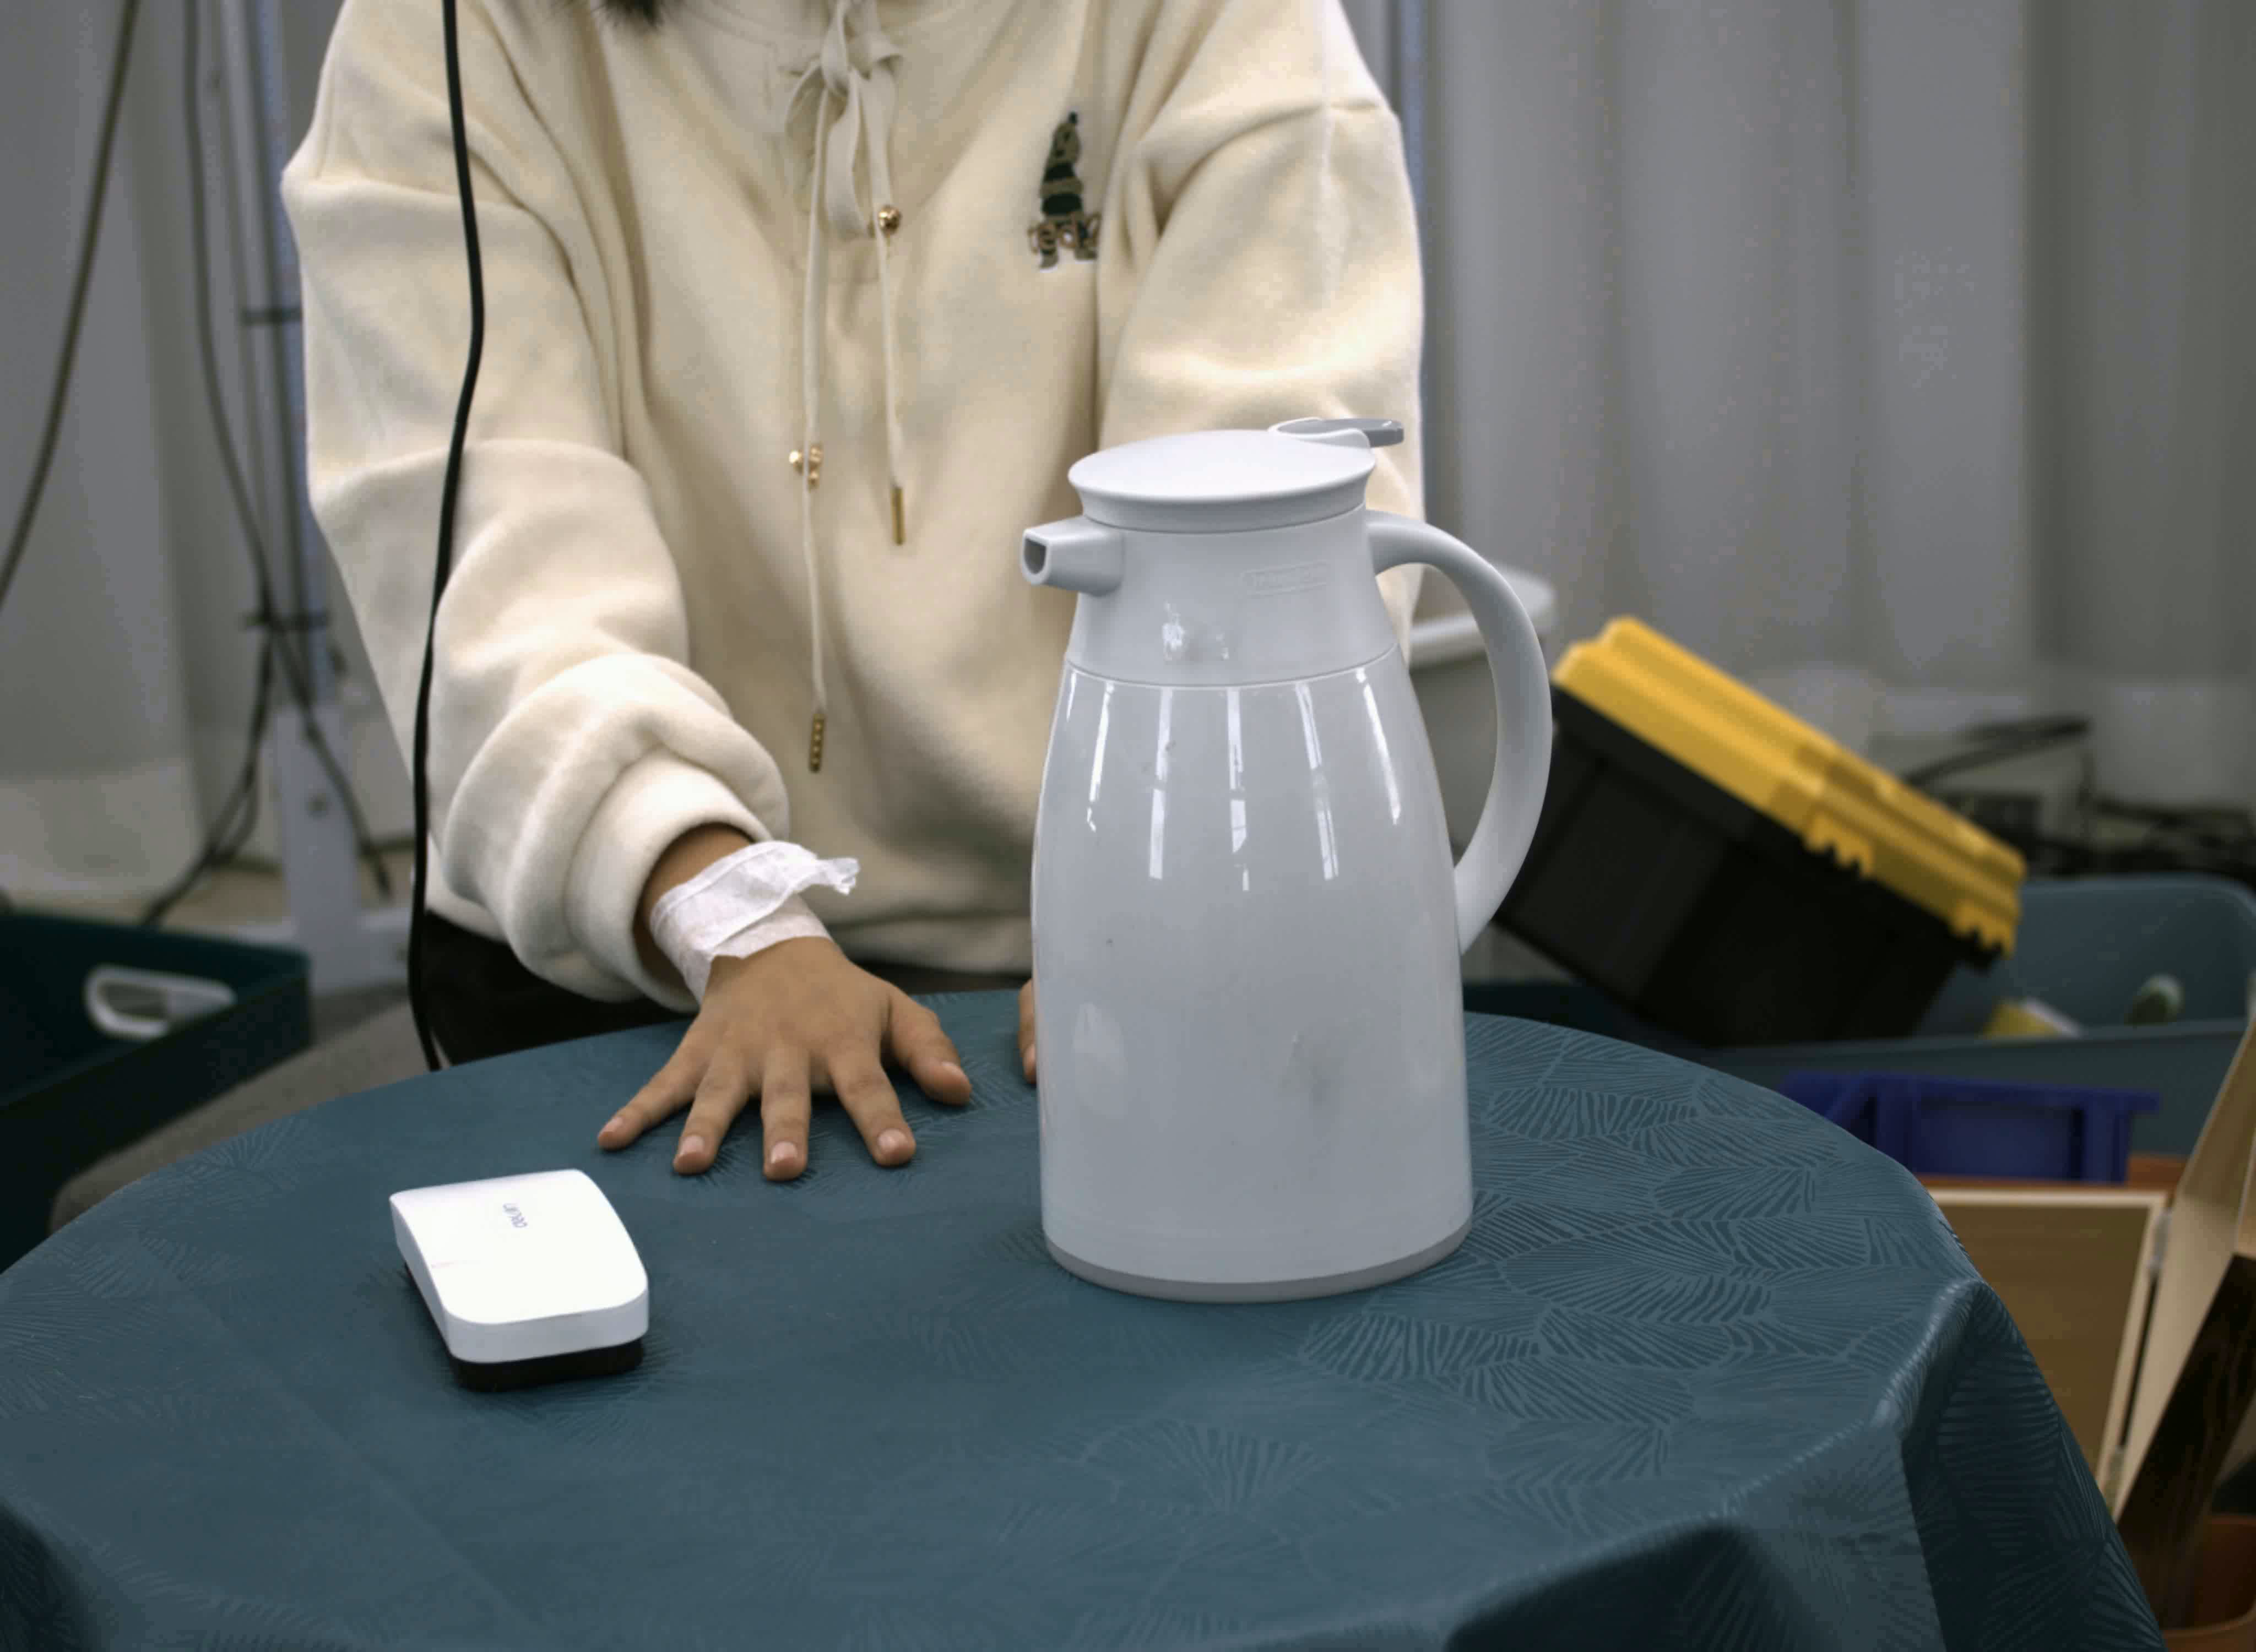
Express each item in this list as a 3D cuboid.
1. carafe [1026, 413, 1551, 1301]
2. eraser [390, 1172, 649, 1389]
[{"bbox_3d":[0.051,0.001,1.651,0.167,0.248,0.133,-9,14,-24],"label":"carafe"},{"bbox_3d":[-0.181,0.131,1.628,0.063,0.034,0.132,-5,15,-14],"label":"eraser"}]
